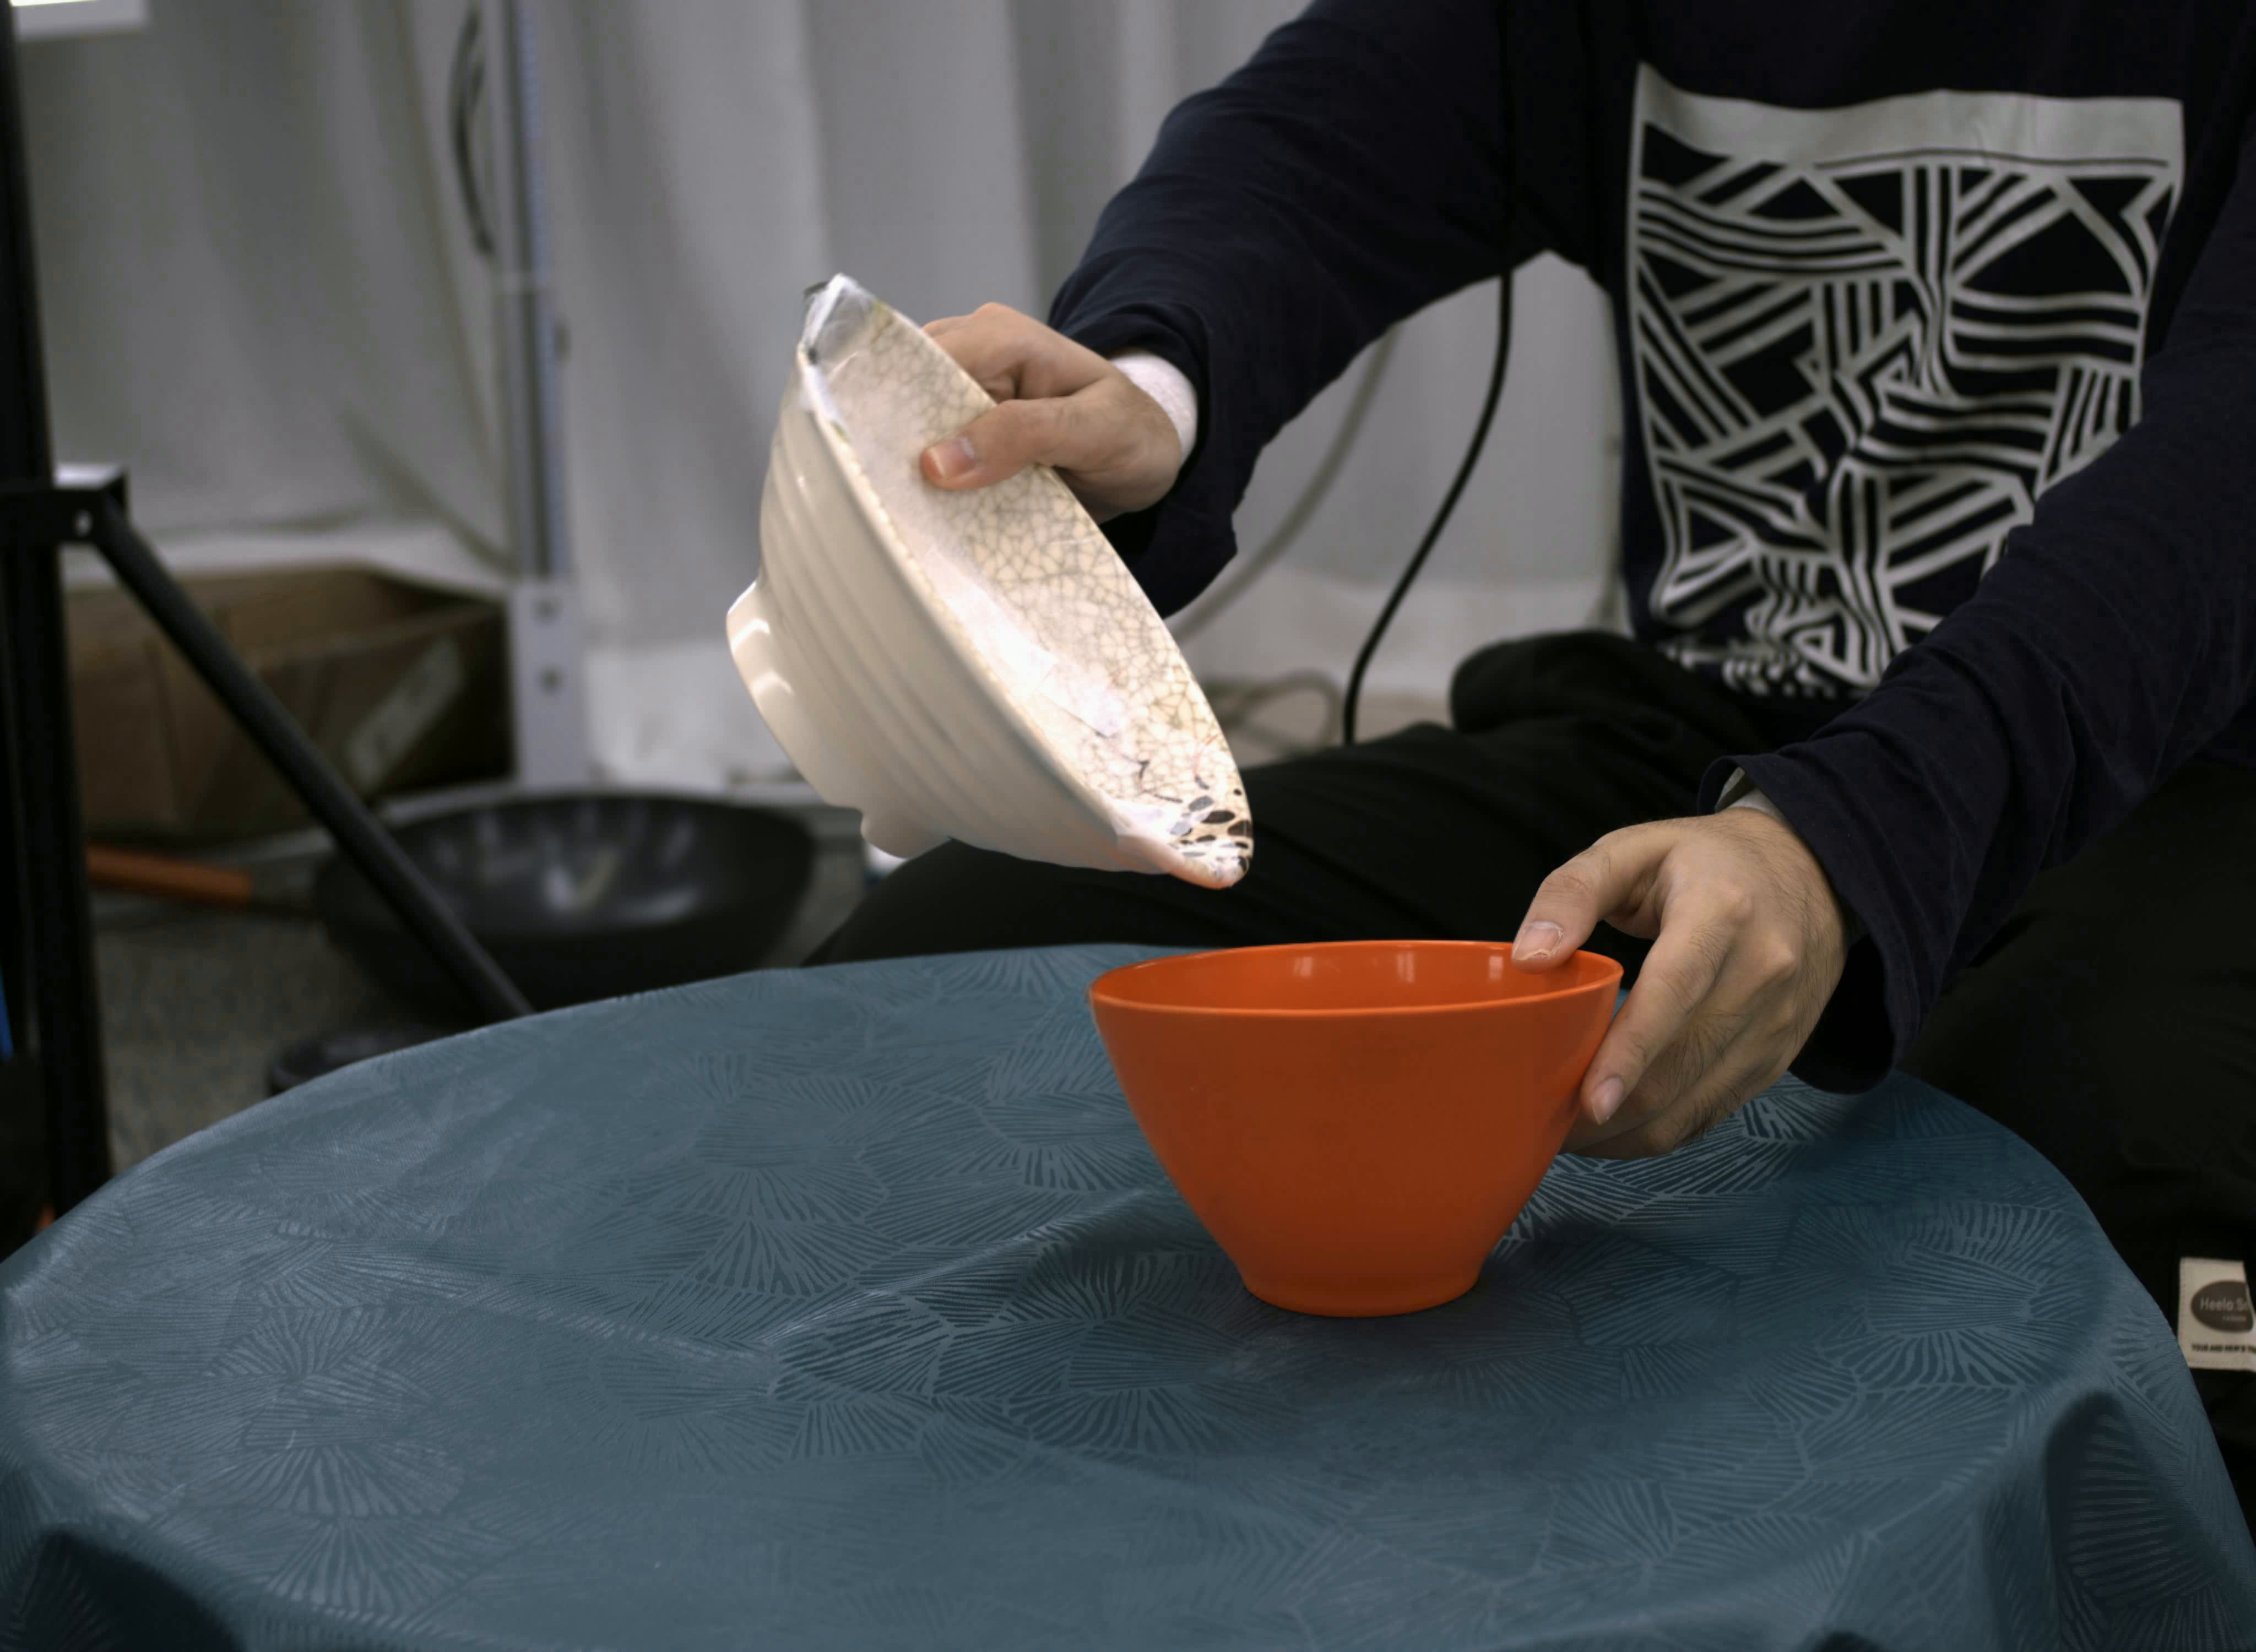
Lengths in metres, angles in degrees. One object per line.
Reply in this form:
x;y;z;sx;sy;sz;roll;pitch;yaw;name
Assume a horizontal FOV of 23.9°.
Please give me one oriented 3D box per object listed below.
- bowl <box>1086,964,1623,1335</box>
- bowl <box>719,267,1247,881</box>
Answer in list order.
0.062;0.085;1.462;0.147;0.105;0.148;-1;12;-1;bowl
-0.057;-0.050;1.483;0.078;0.203;0.204;-36;9;14;bowl
